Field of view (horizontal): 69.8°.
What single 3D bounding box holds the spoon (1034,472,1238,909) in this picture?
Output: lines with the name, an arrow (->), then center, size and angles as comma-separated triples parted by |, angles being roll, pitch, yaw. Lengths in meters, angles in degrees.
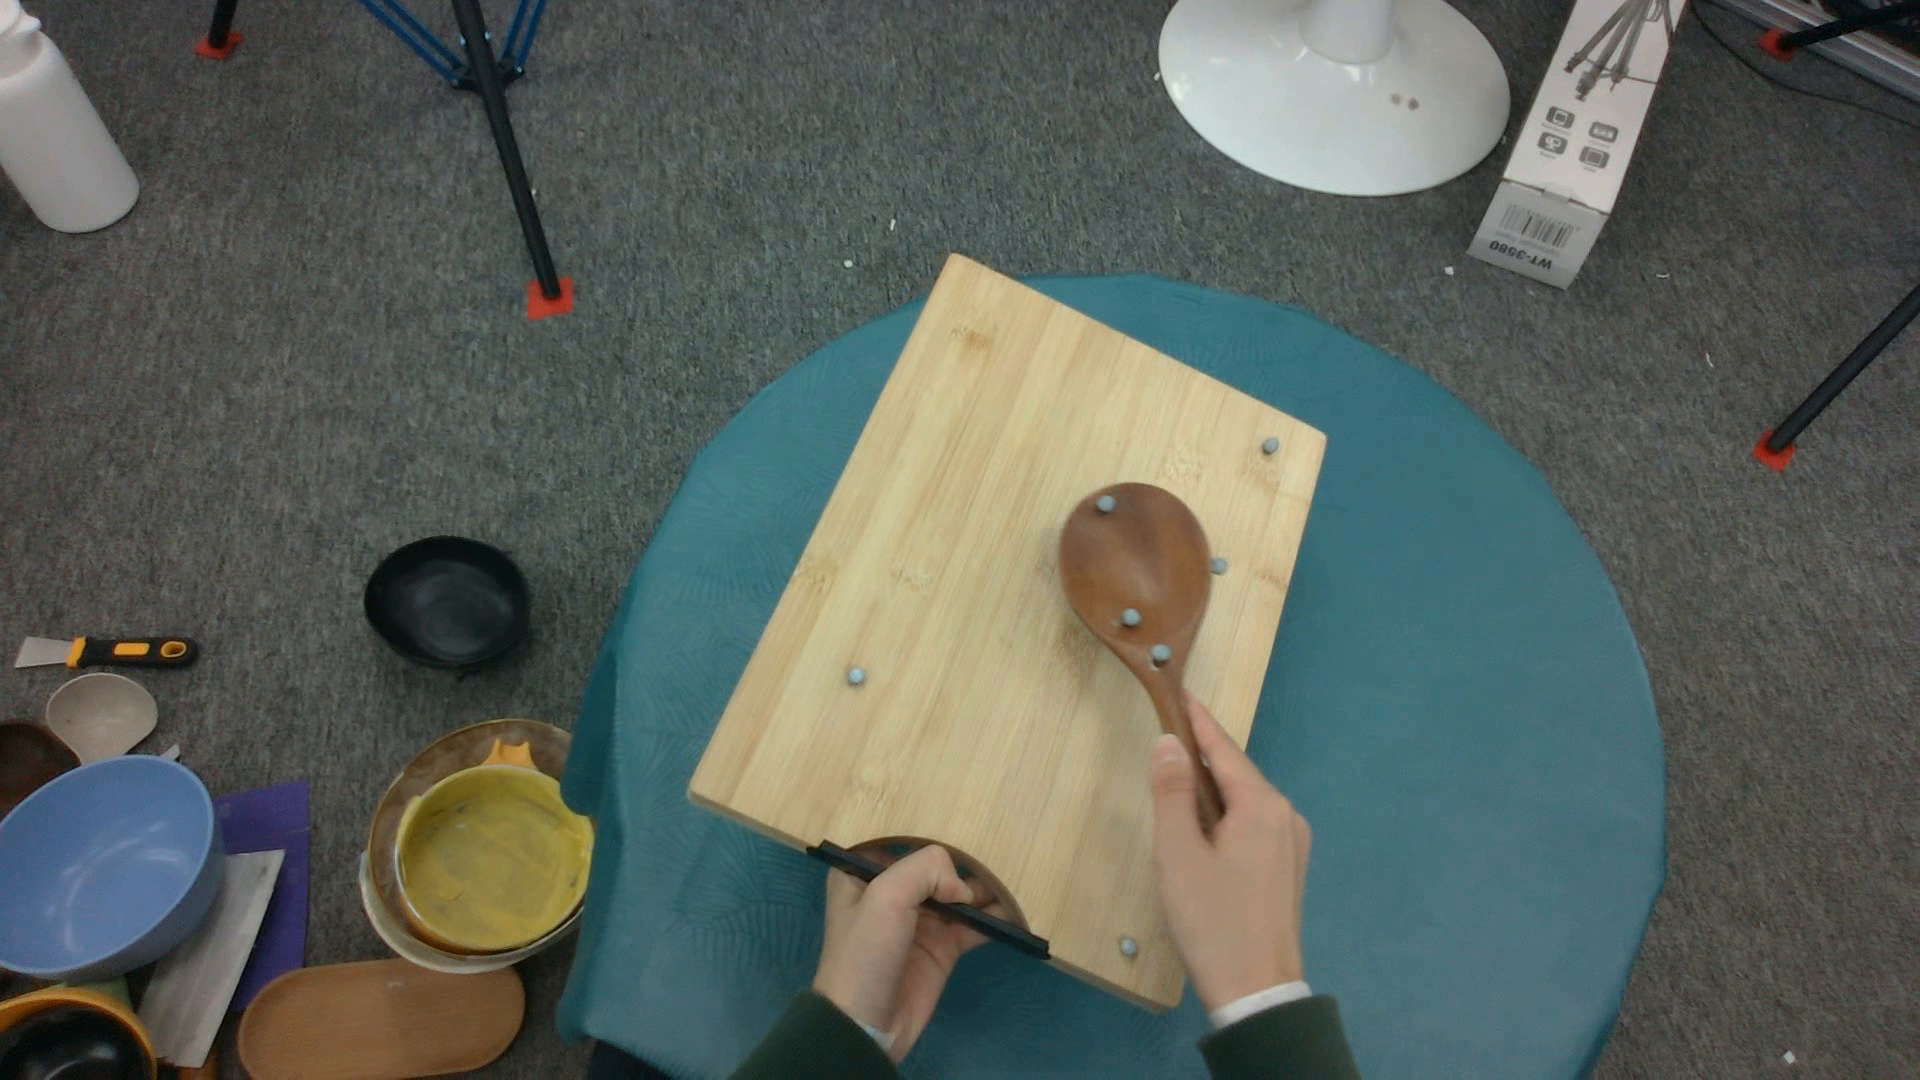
spoon -> 0.086, 0.062, 0.630 | 0.075, 0.017, 0.216 | -10, 60, -5

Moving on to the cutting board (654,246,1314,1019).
cutting board -> 0.034, 0.028, 0.697 | 0.251, 0.023, 0.350 | 24, 59, -5
